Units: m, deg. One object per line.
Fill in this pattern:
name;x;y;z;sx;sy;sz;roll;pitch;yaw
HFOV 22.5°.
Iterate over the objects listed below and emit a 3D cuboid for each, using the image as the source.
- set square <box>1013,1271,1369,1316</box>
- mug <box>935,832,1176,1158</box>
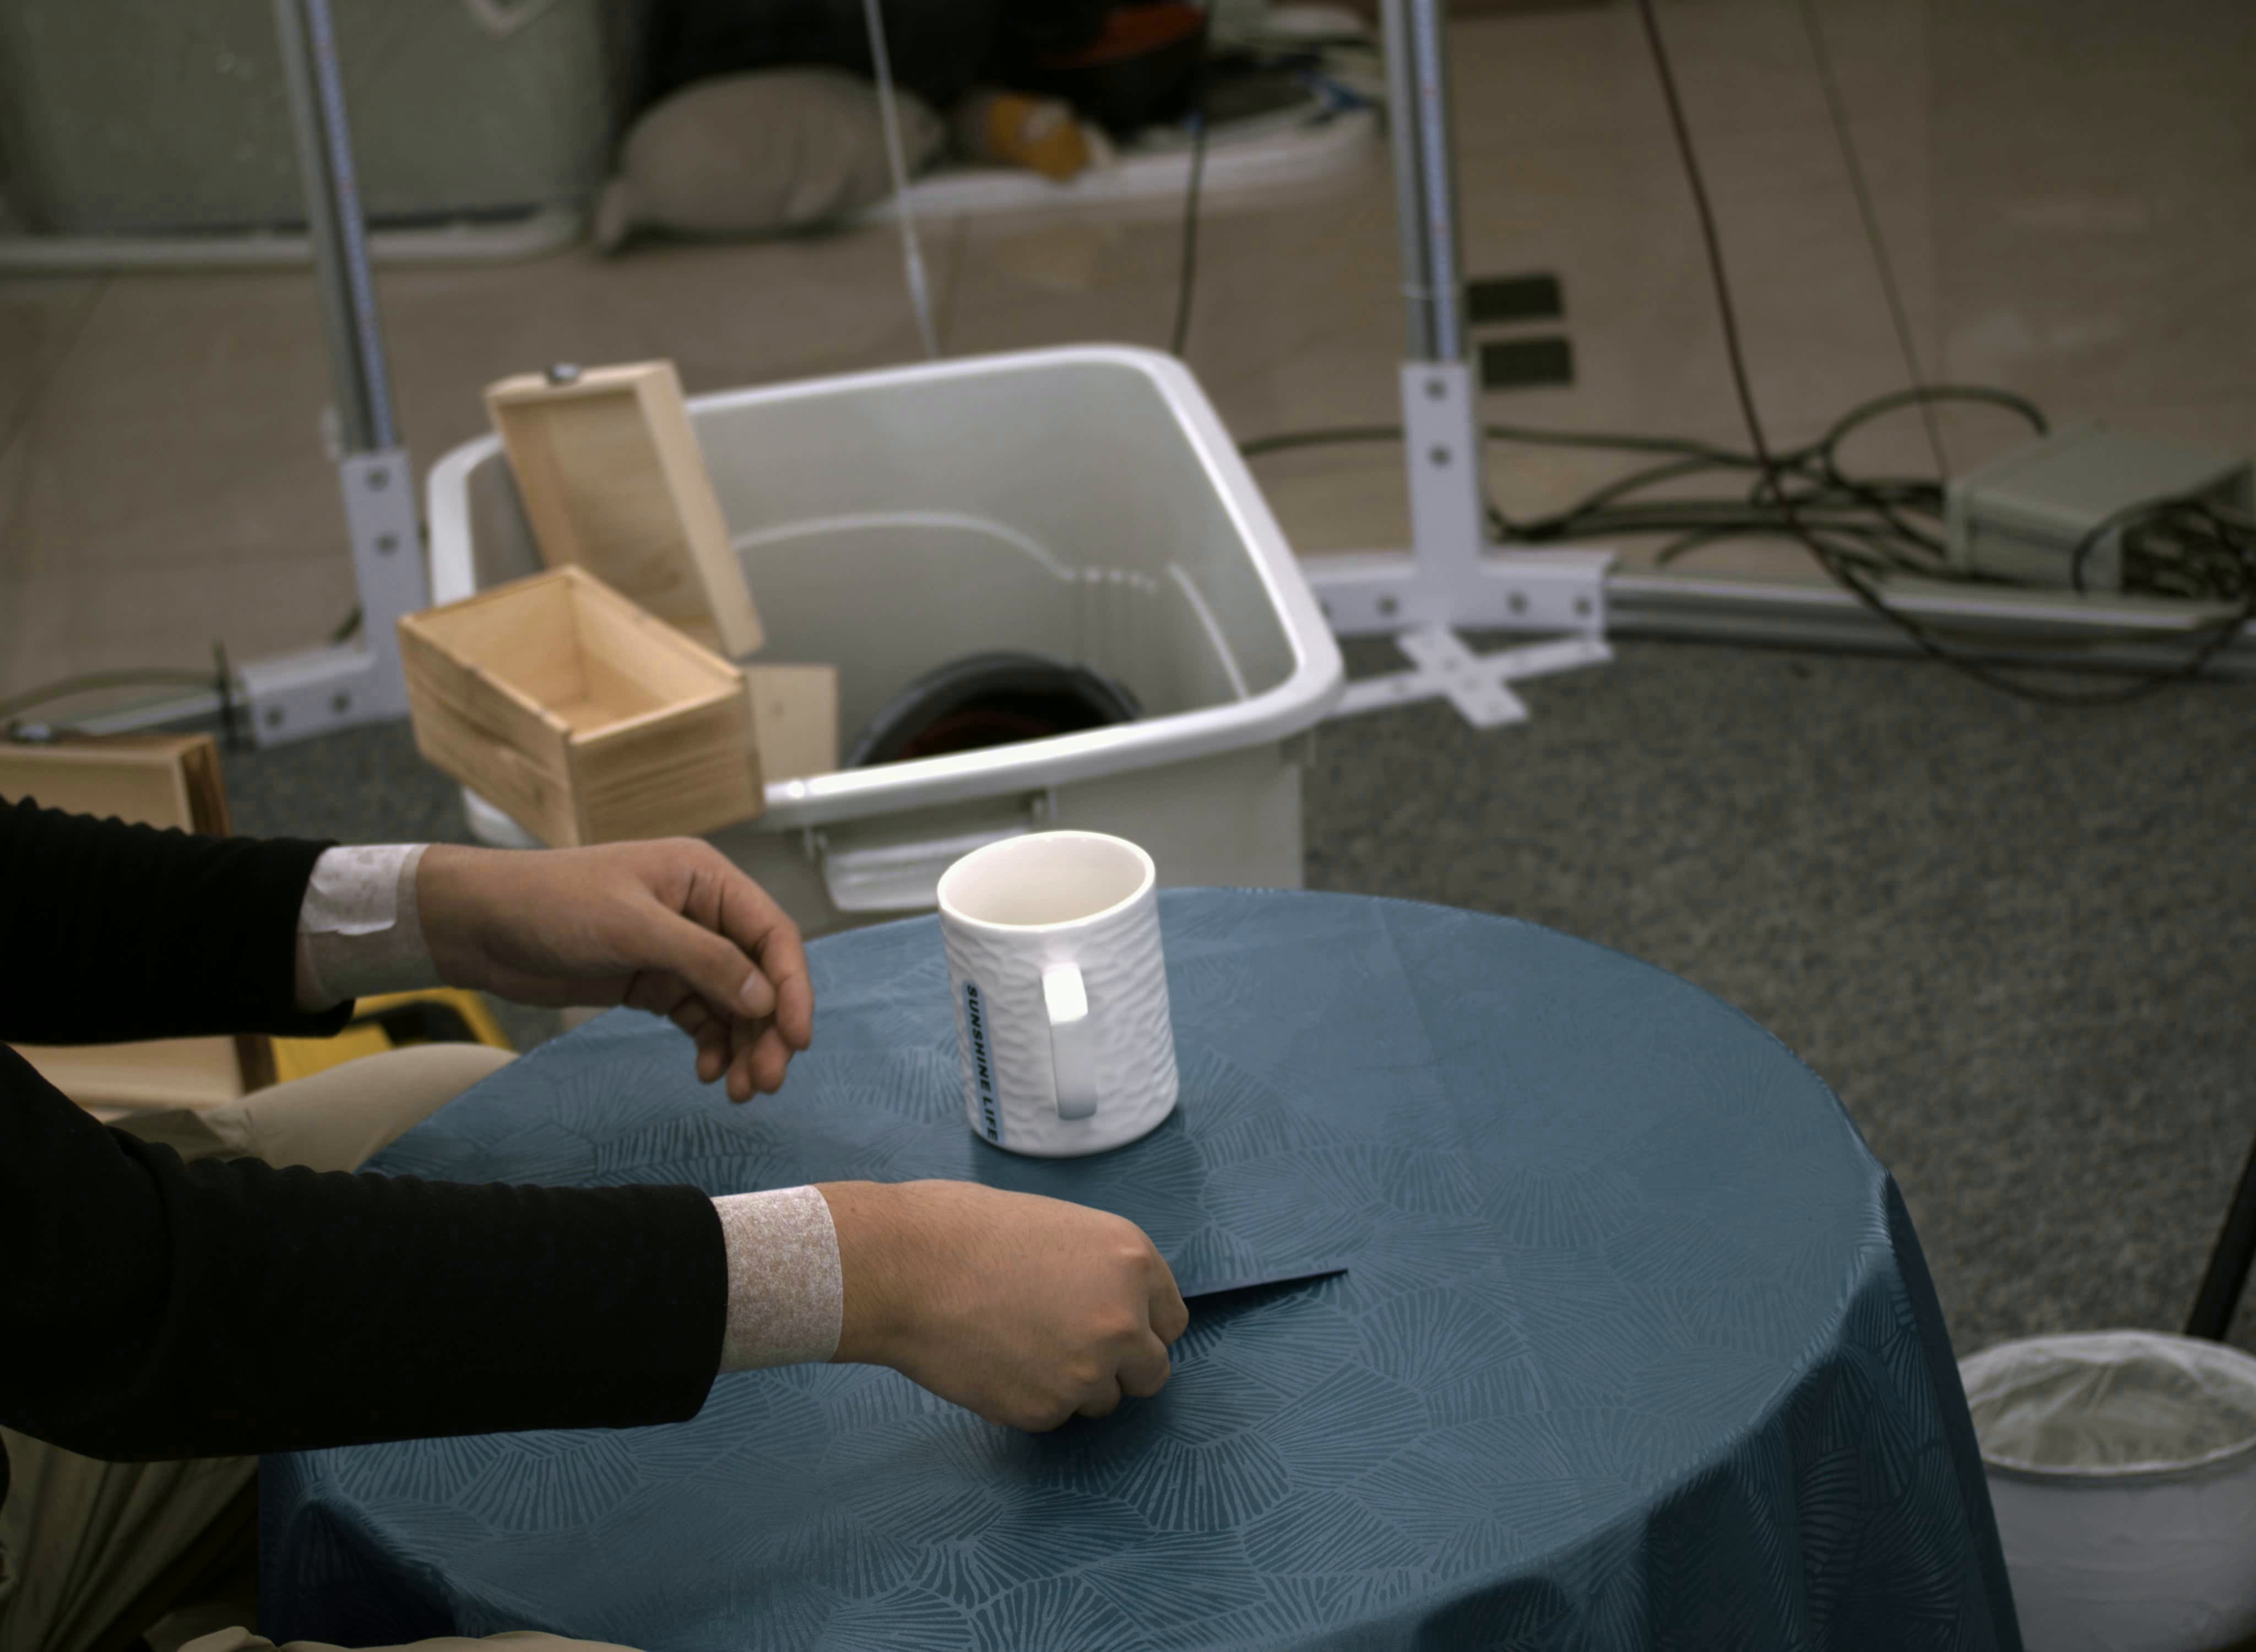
set square;0.021;0.168;2.041;0.132;0.006;0.061;-5;0;5
mug;-0.025;0.072;2.175;0.085;0.103;0.116;-7;25;-3
